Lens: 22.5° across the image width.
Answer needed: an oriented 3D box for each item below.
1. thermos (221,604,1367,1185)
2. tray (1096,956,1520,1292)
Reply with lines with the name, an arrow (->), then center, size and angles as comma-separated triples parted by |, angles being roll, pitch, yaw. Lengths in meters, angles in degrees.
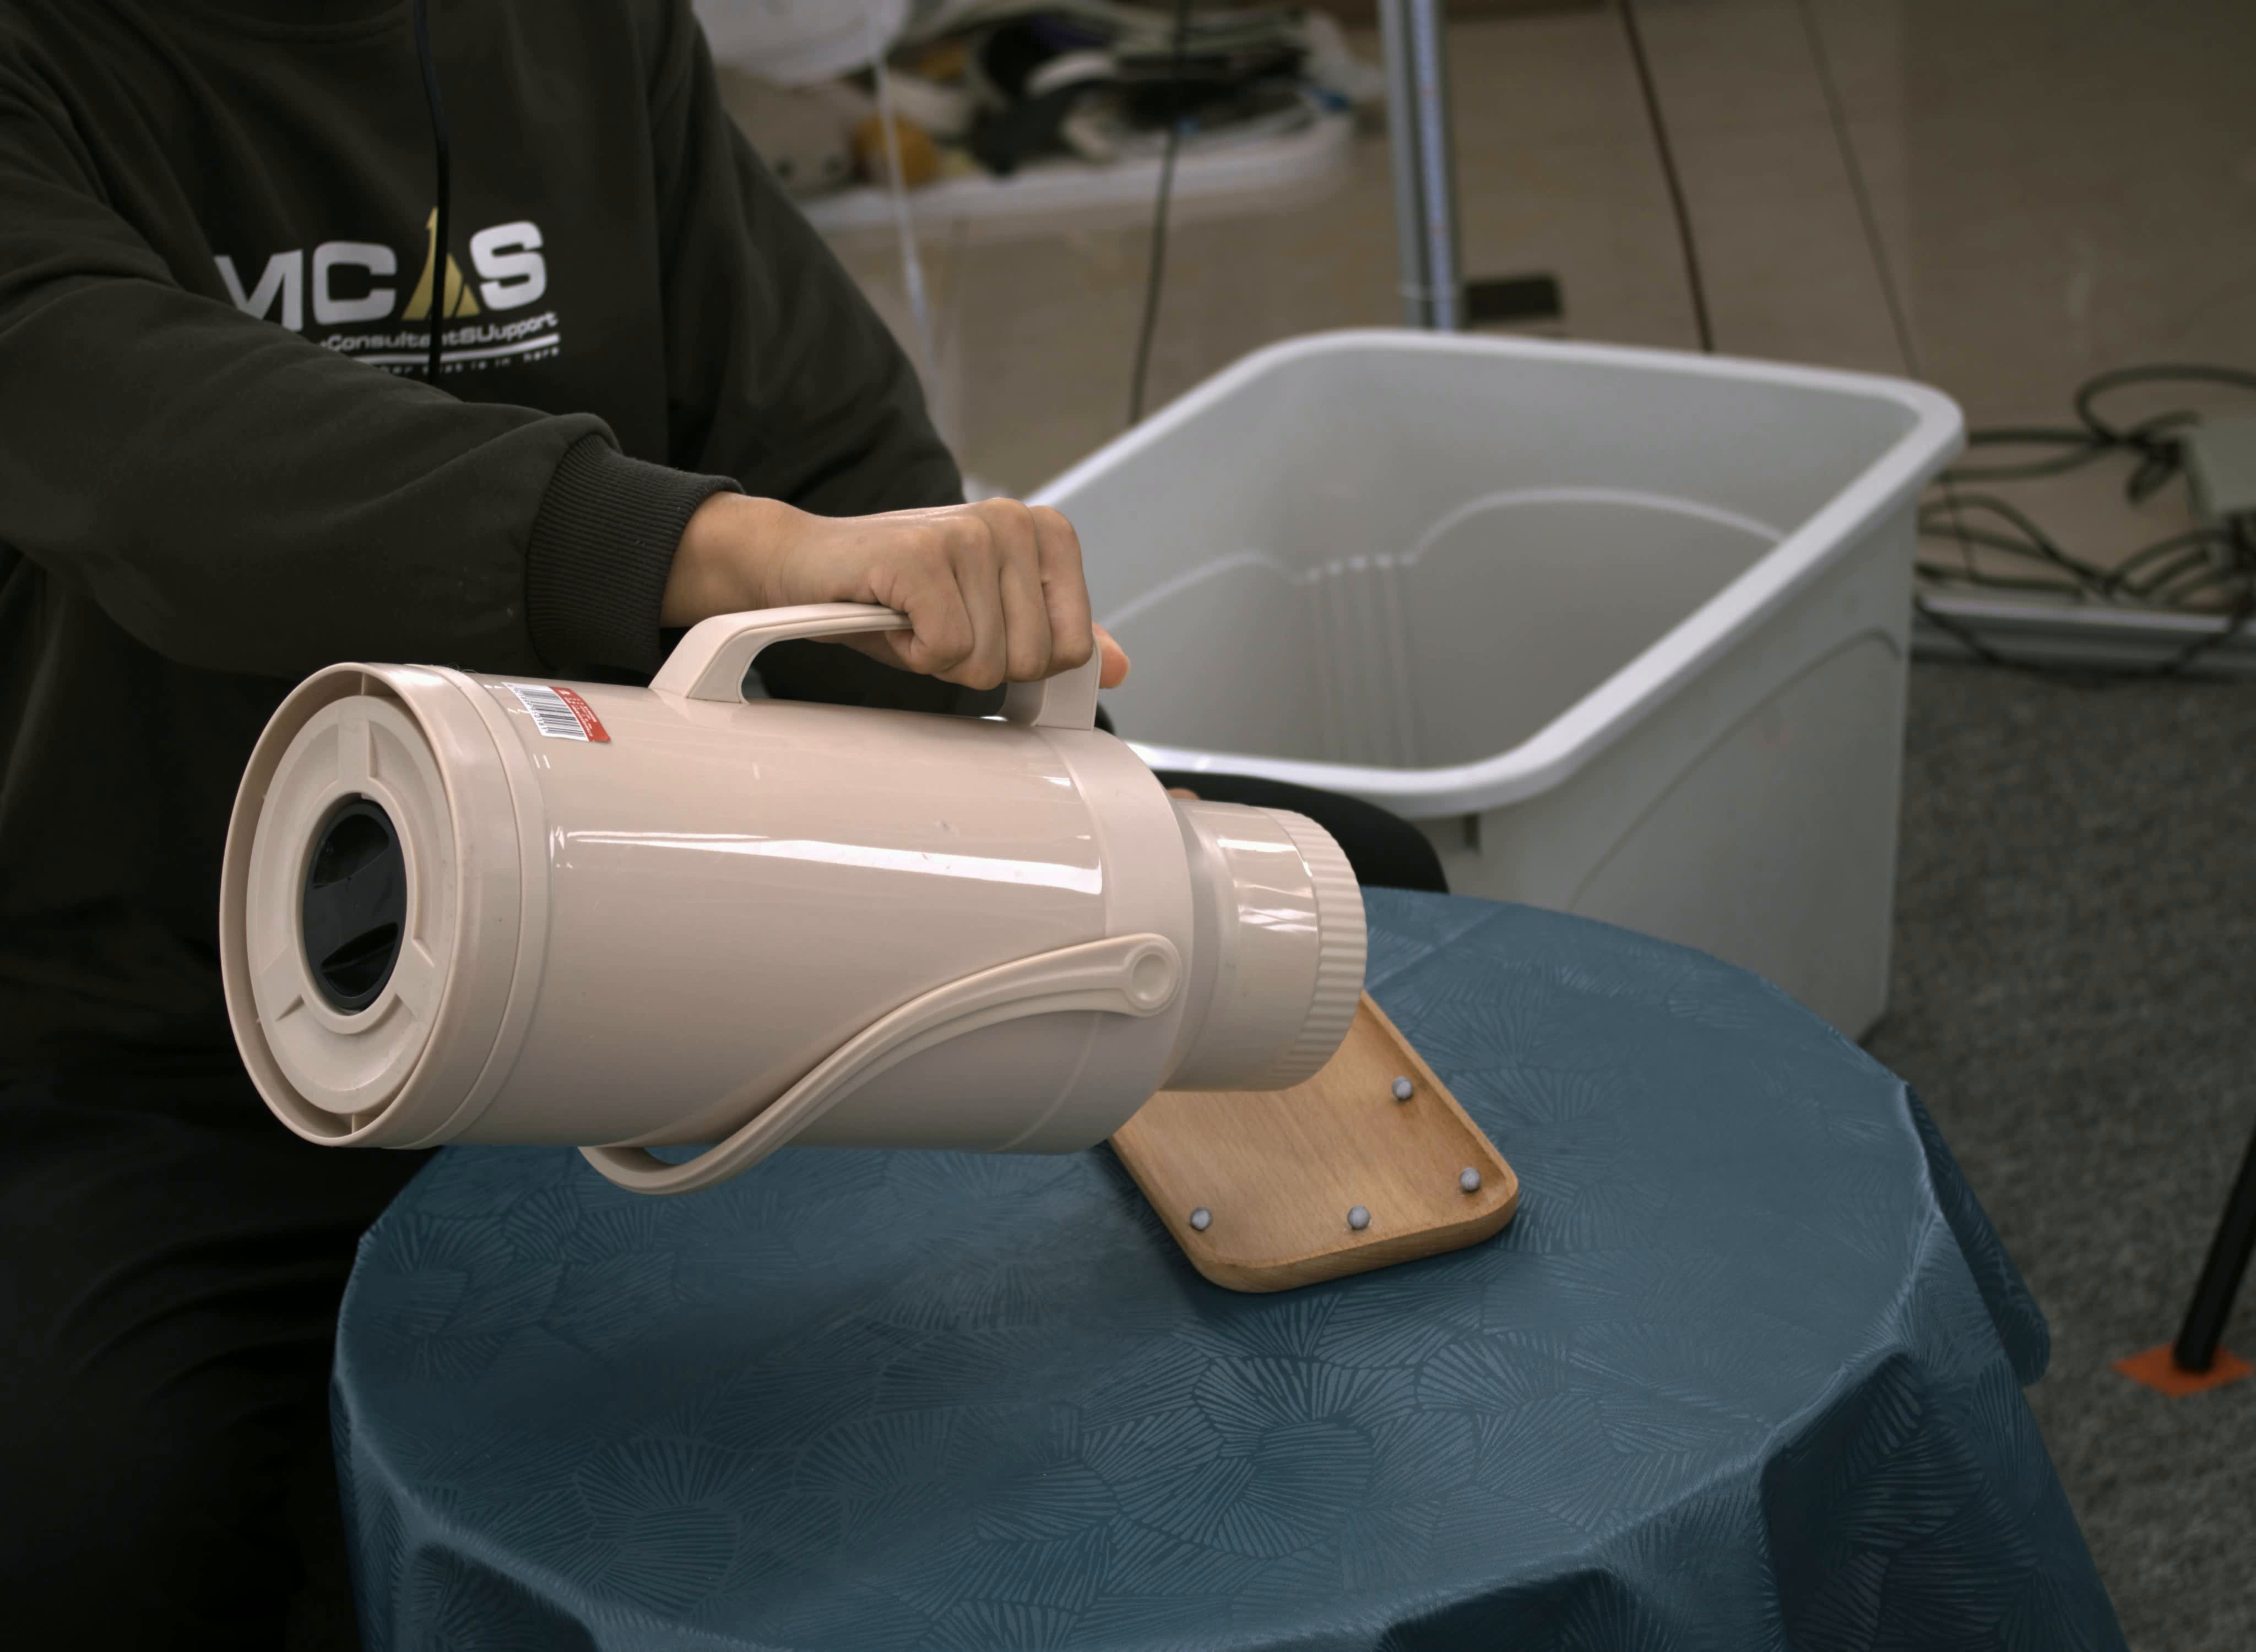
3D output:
thermos -> -0.102, 0.022, 1.972 | 0.406, 0.208, 0.174 | 3, 8, -37
tray -> 0.057, 0.111, 2.175 | 0.130, 0.023, 0.247 | -10, 24, -13
